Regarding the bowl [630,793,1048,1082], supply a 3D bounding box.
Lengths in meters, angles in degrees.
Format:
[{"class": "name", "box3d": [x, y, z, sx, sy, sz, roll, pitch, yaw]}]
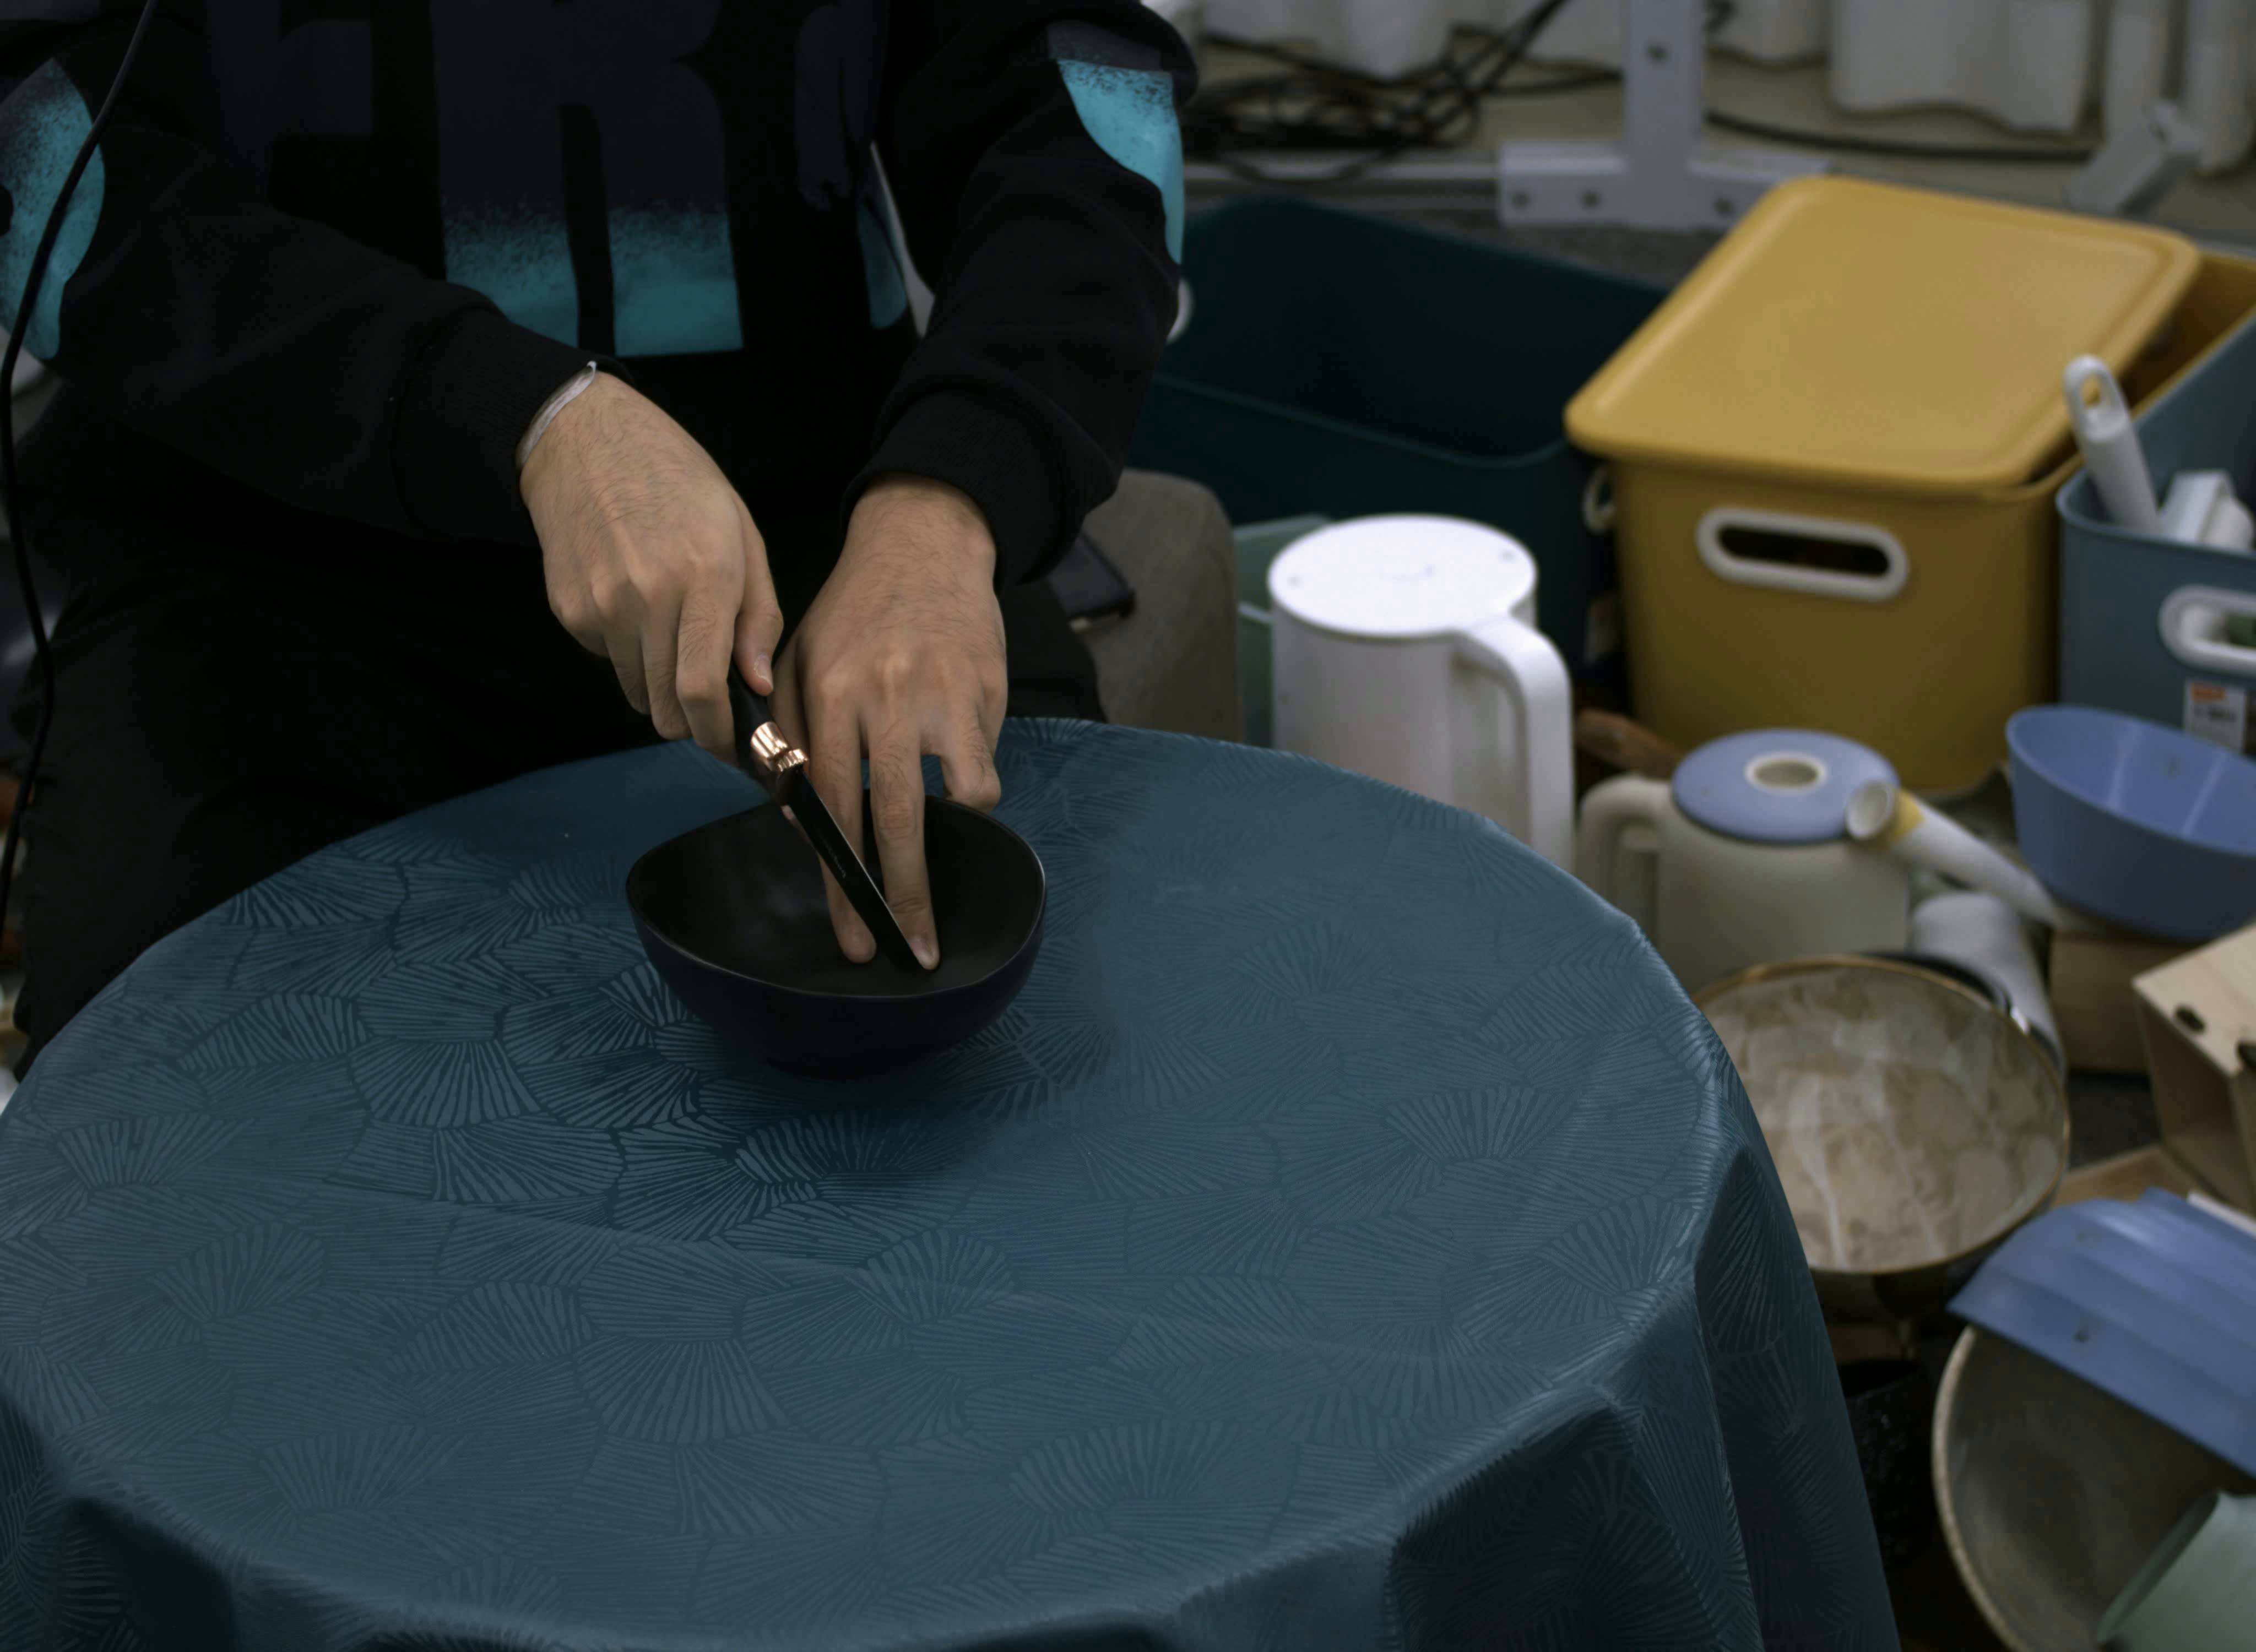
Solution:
[{"class": "bowl", "box3d": [-0.100, 0.046, 1.948, 0.138, 0.066, 0.170, -21, 30, -31]}]

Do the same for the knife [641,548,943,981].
[{"class": "knife", "box3d": [-0.115, -0.015, 1.969, 0.017, 0.026, 0.228, -19, 59, -25]}]
